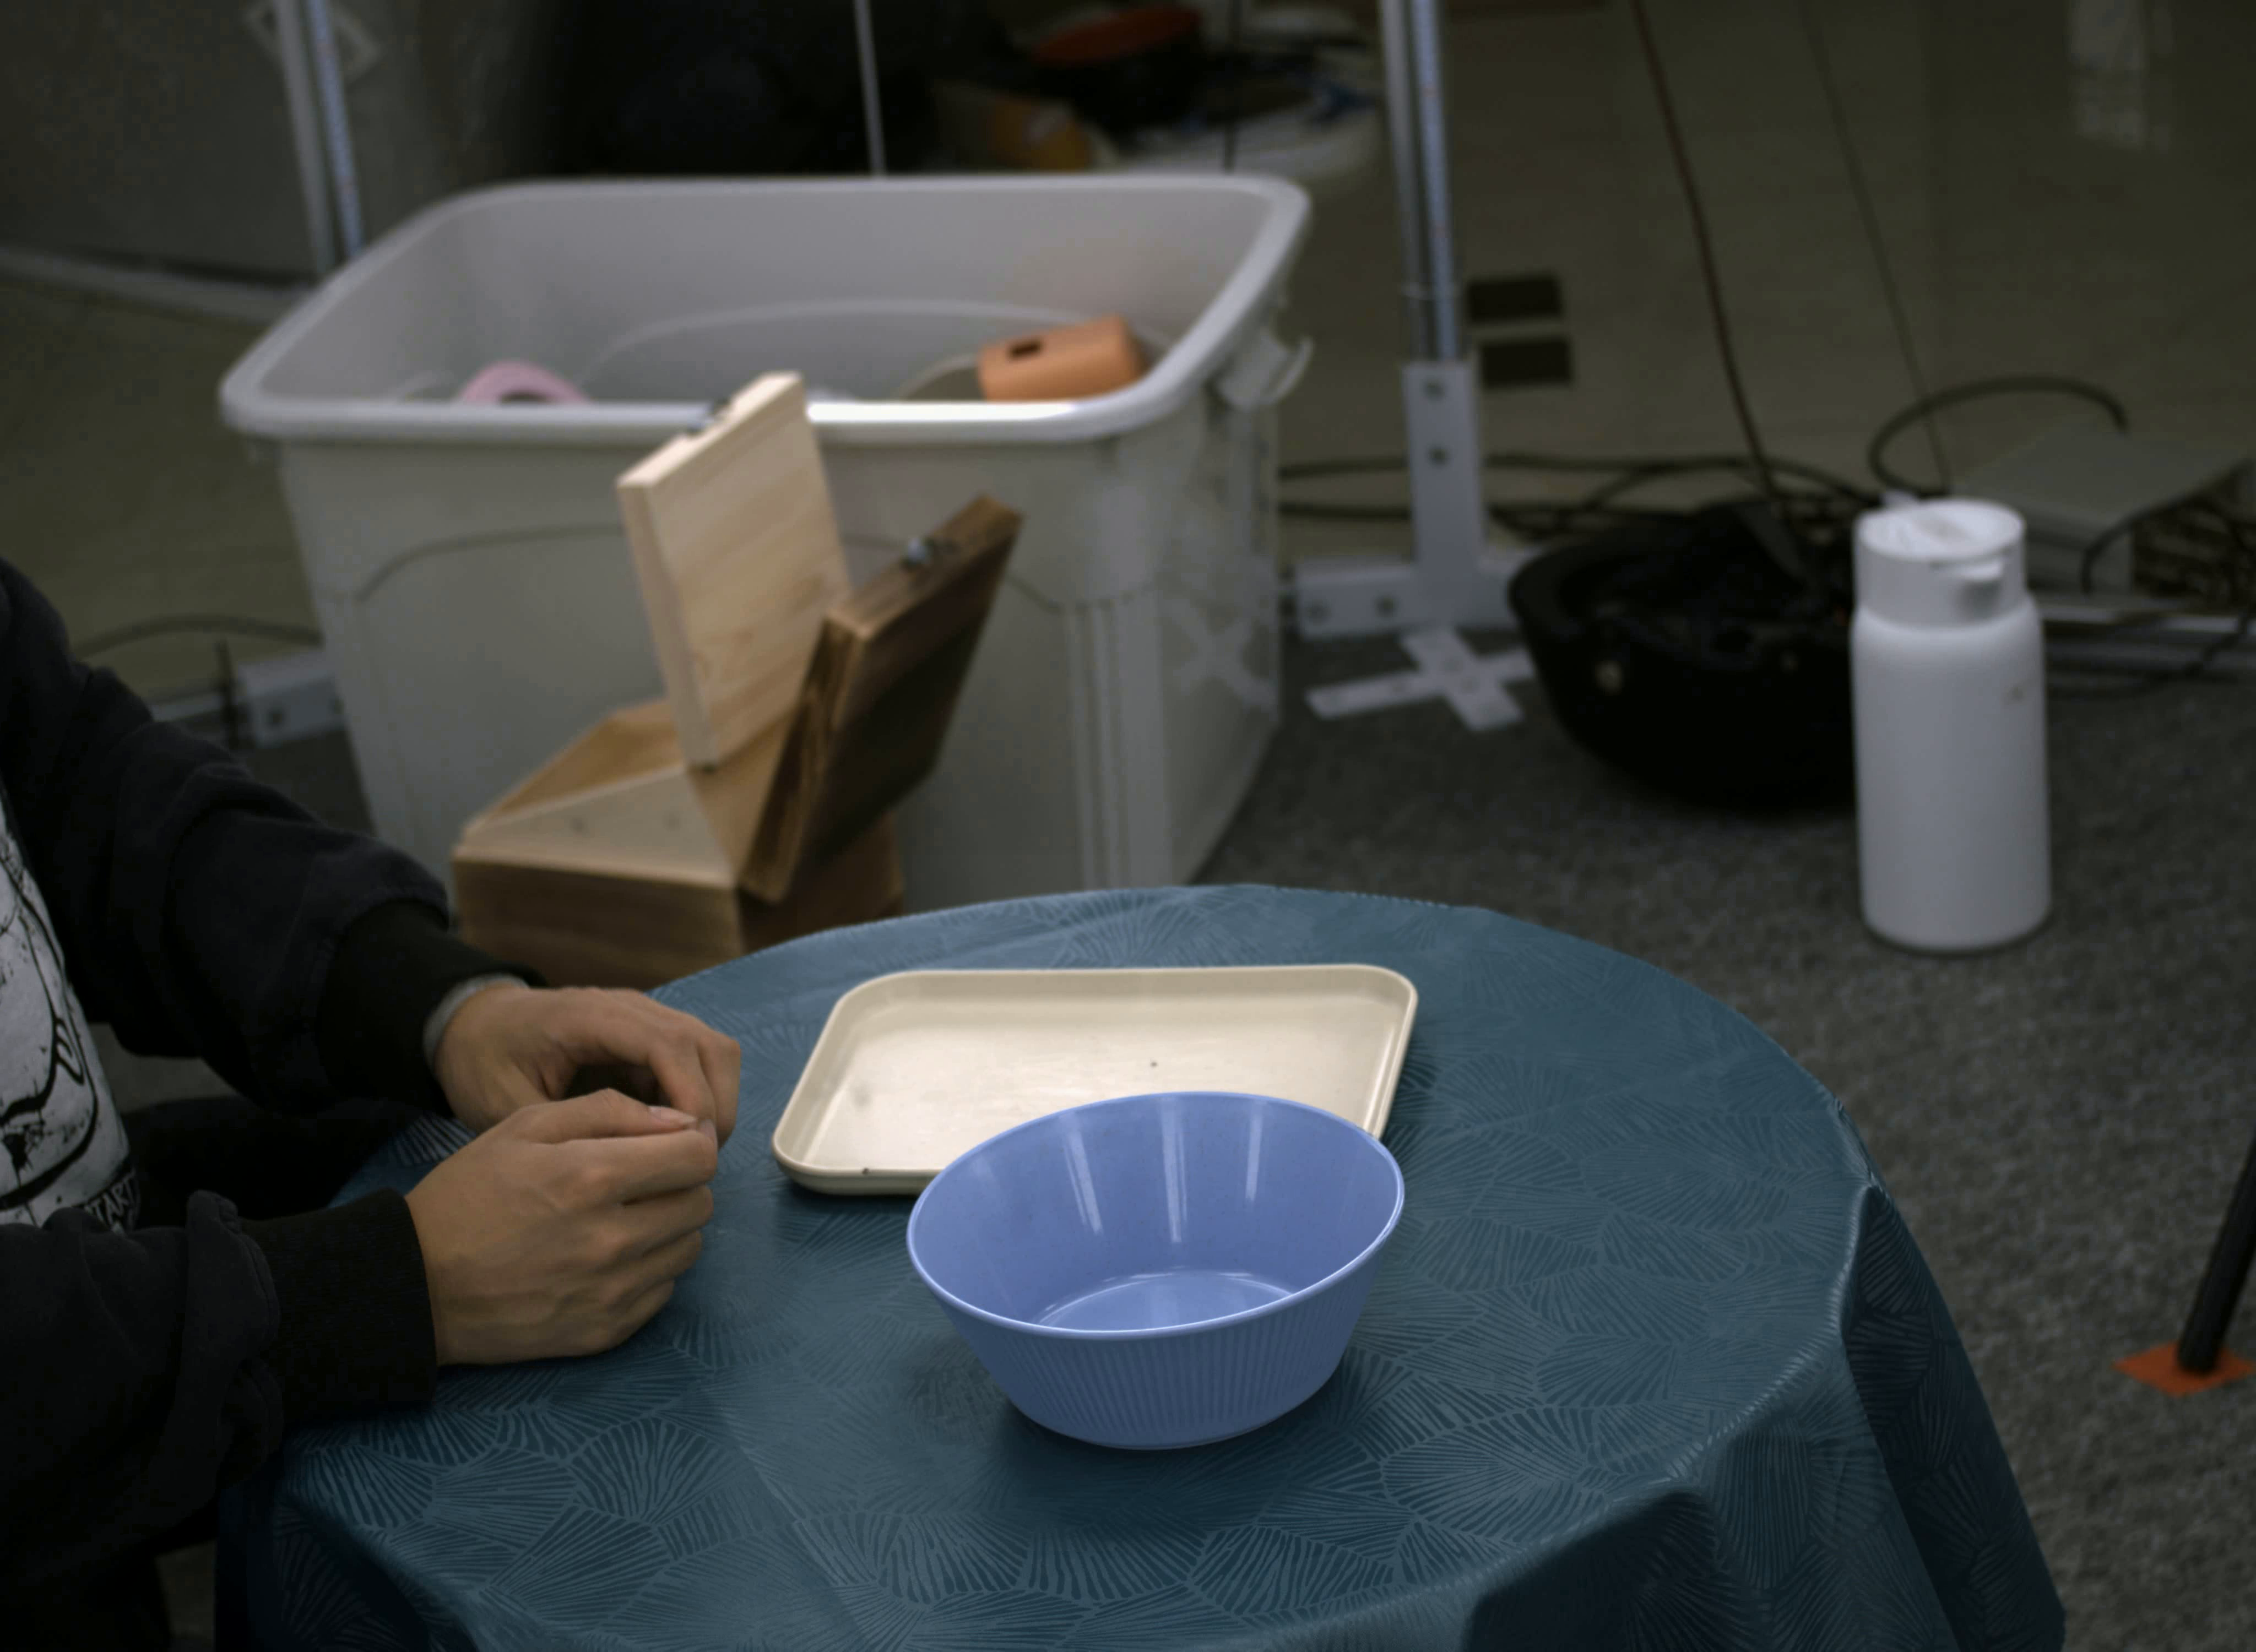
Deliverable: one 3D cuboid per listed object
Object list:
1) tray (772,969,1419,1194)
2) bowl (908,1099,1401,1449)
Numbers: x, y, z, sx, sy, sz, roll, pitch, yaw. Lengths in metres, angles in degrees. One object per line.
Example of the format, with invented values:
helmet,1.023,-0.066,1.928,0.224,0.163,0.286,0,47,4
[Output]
tray,-0.010,0.101,2.216,0.239,0.018,0.169,-1,25,12
bowl,0.012,0.165,2.010,0.176,0.071,0.173,-5,24,3
